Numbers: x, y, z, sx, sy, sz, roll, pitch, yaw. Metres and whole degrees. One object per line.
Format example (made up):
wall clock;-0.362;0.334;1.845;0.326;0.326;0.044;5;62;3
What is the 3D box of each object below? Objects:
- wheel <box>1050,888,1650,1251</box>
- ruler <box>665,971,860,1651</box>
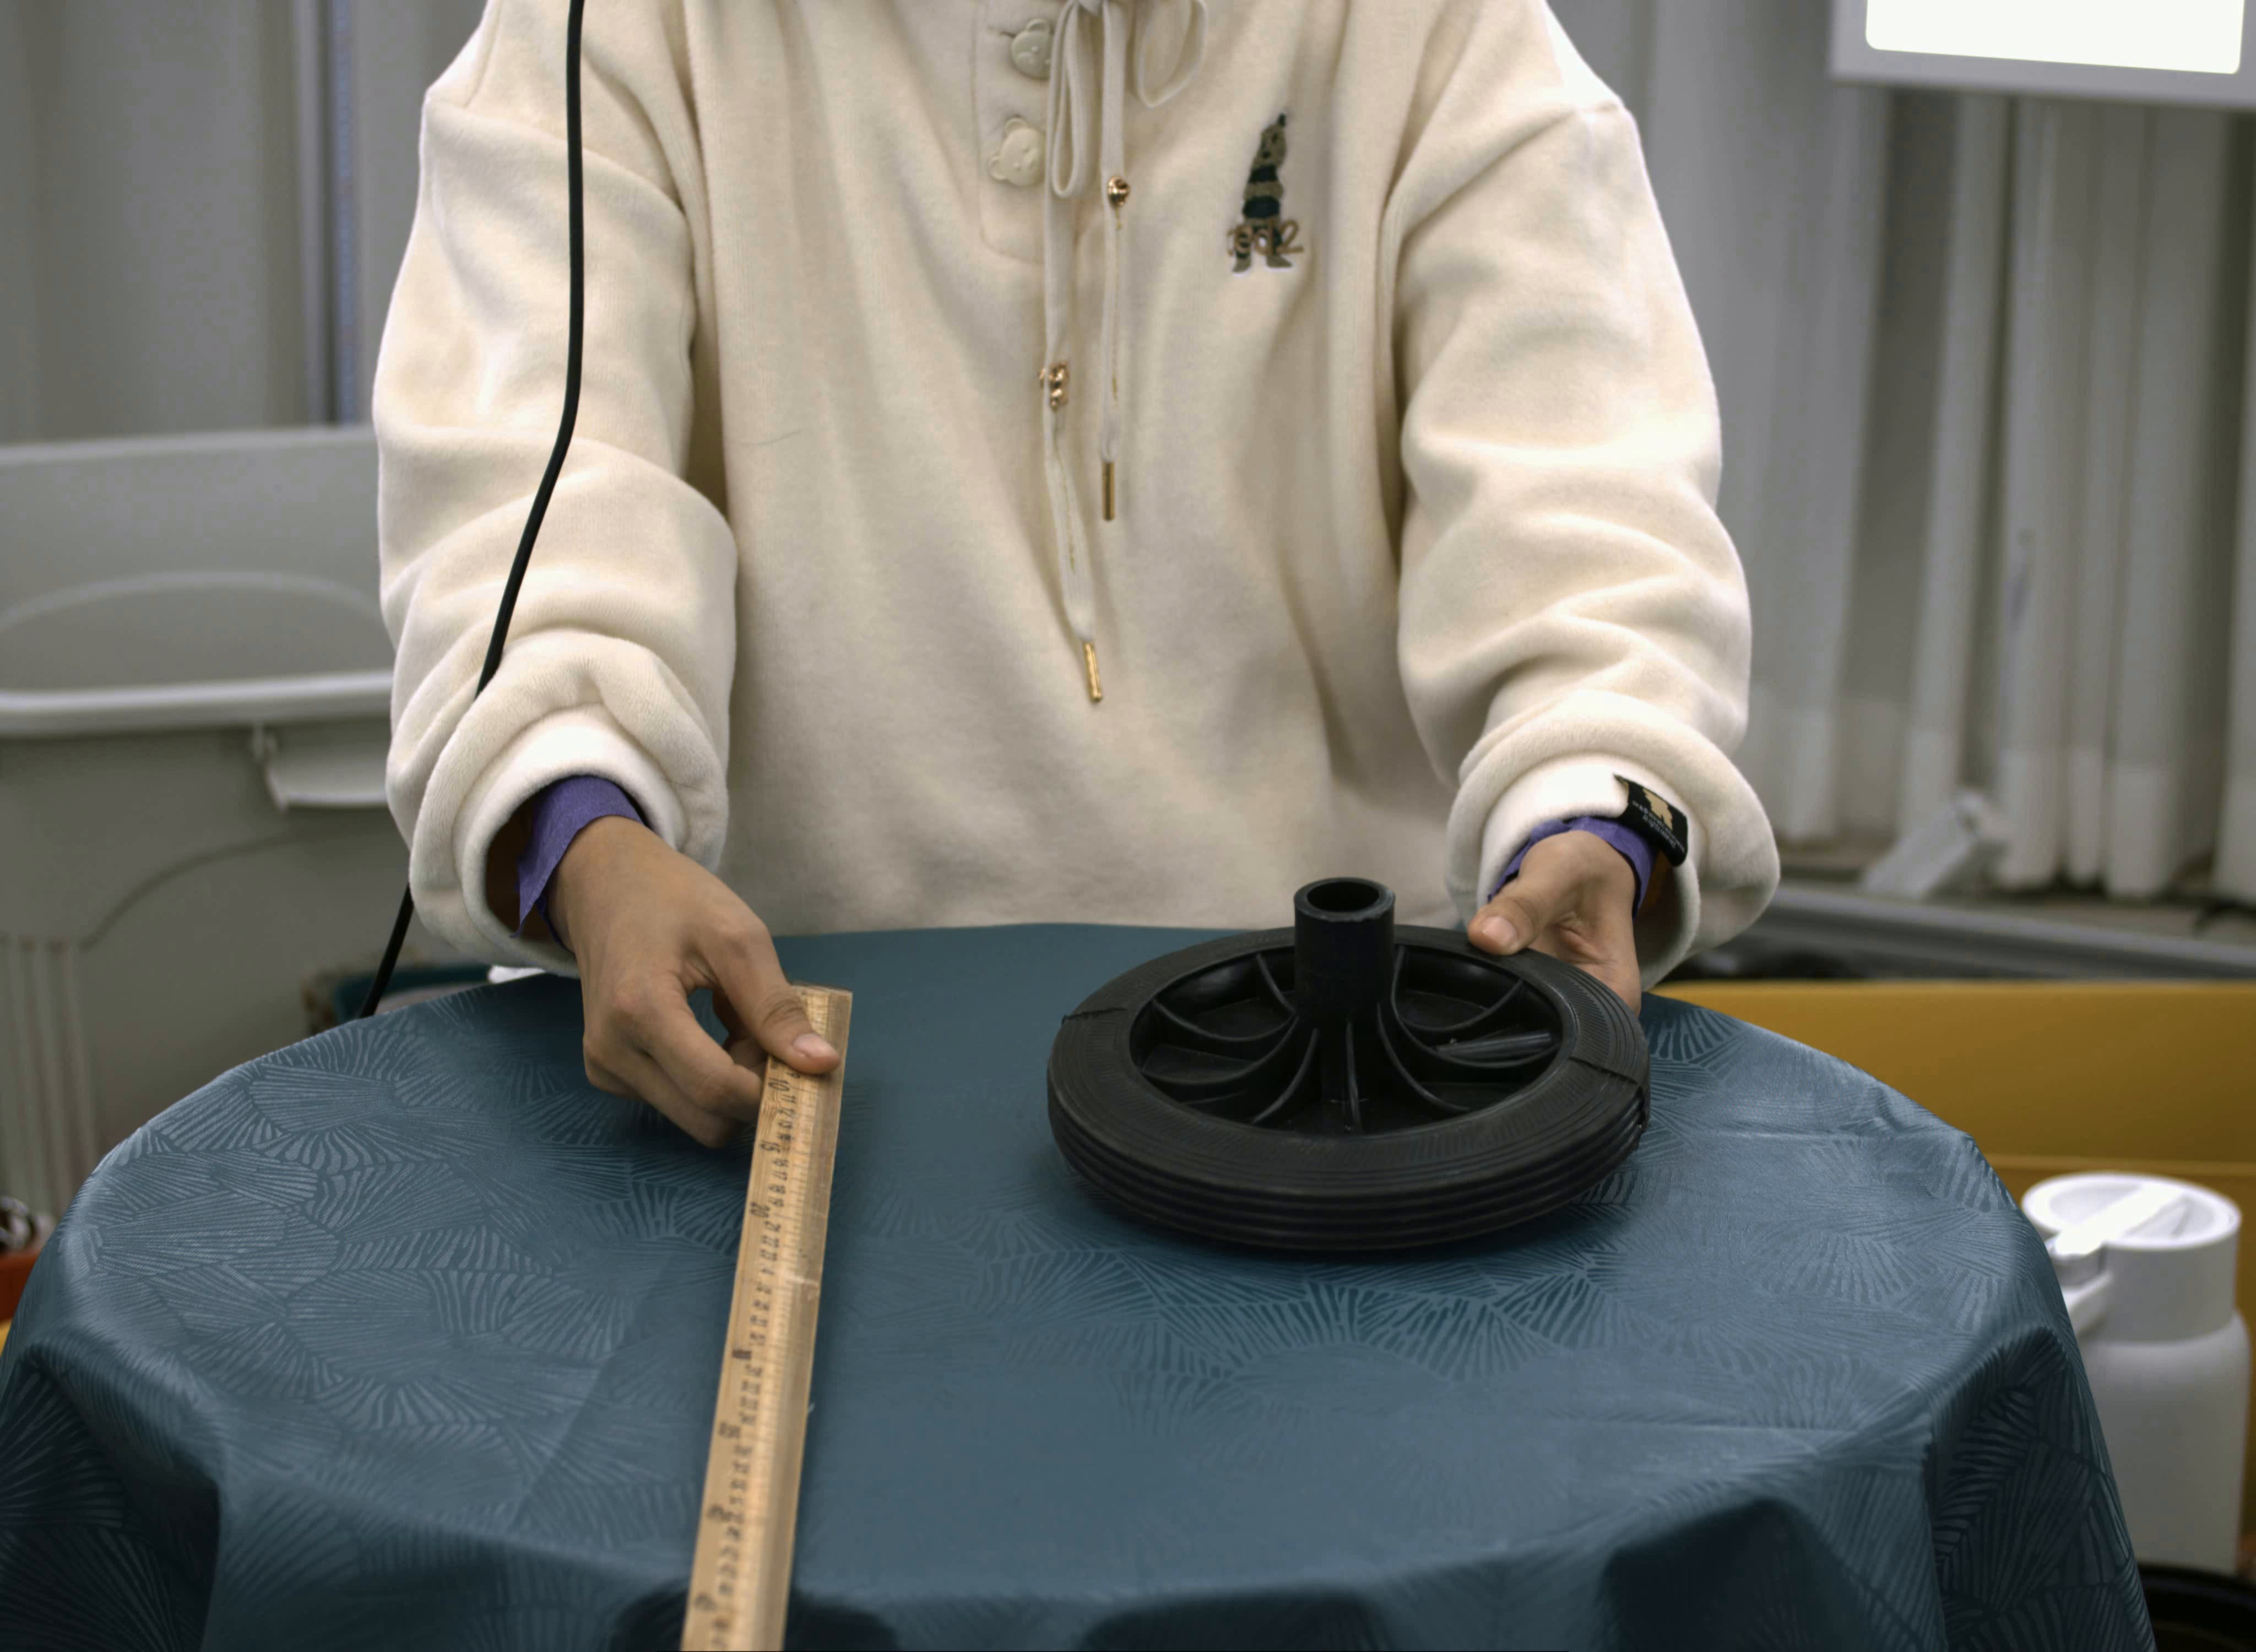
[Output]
wheel;0.069;0.061;1.629;0.190;0.080;0.185;-18;29;-32
ruler;-0.100;0.131;1.488;0.027;0.006;0.497;15;18;-5
